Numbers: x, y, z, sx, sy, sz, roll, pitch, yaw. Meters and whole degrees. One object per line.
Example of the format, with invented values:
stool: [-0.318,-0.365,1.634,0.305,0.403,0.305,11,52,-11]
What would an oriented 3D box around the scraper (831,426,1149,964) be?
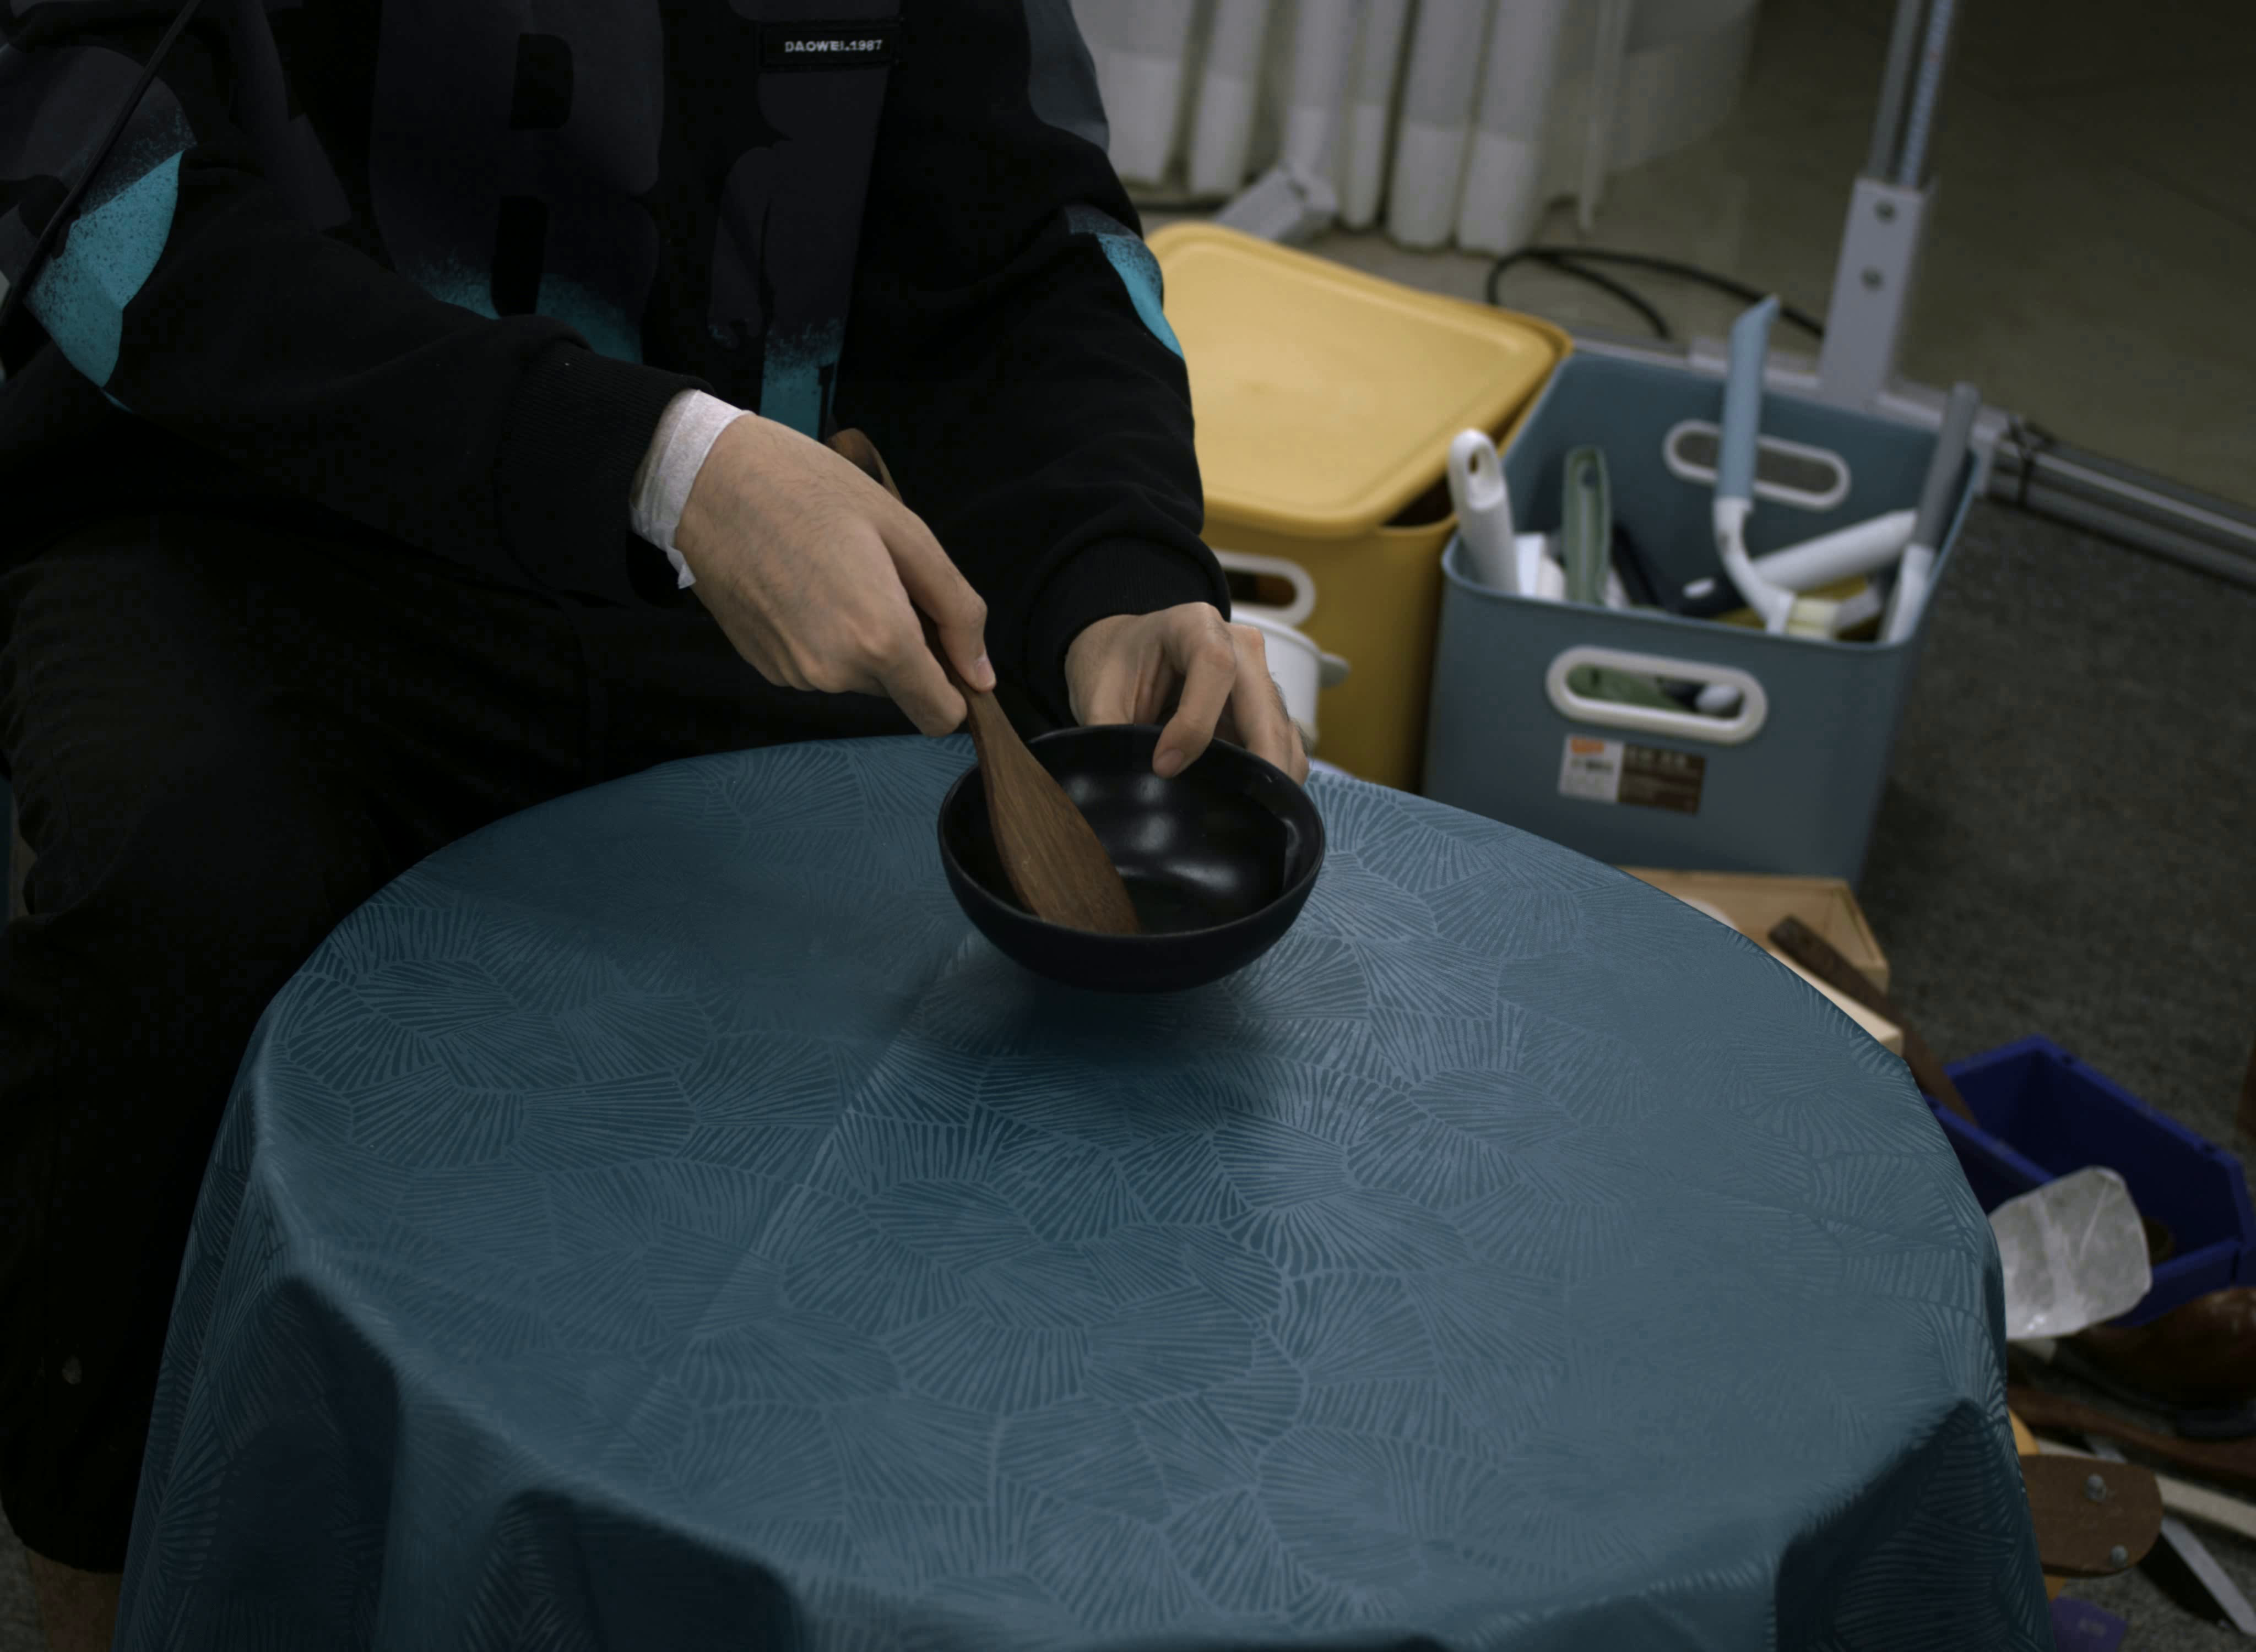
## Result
scraper: [-0.053,-0.047,1.887,0.011,0.212,0.075,-28,-3,24]

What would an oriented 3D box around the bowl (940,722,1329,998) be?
bowl: [0.002,0.020,1.903,0.139,0.049,0.141,0,34,-1]
